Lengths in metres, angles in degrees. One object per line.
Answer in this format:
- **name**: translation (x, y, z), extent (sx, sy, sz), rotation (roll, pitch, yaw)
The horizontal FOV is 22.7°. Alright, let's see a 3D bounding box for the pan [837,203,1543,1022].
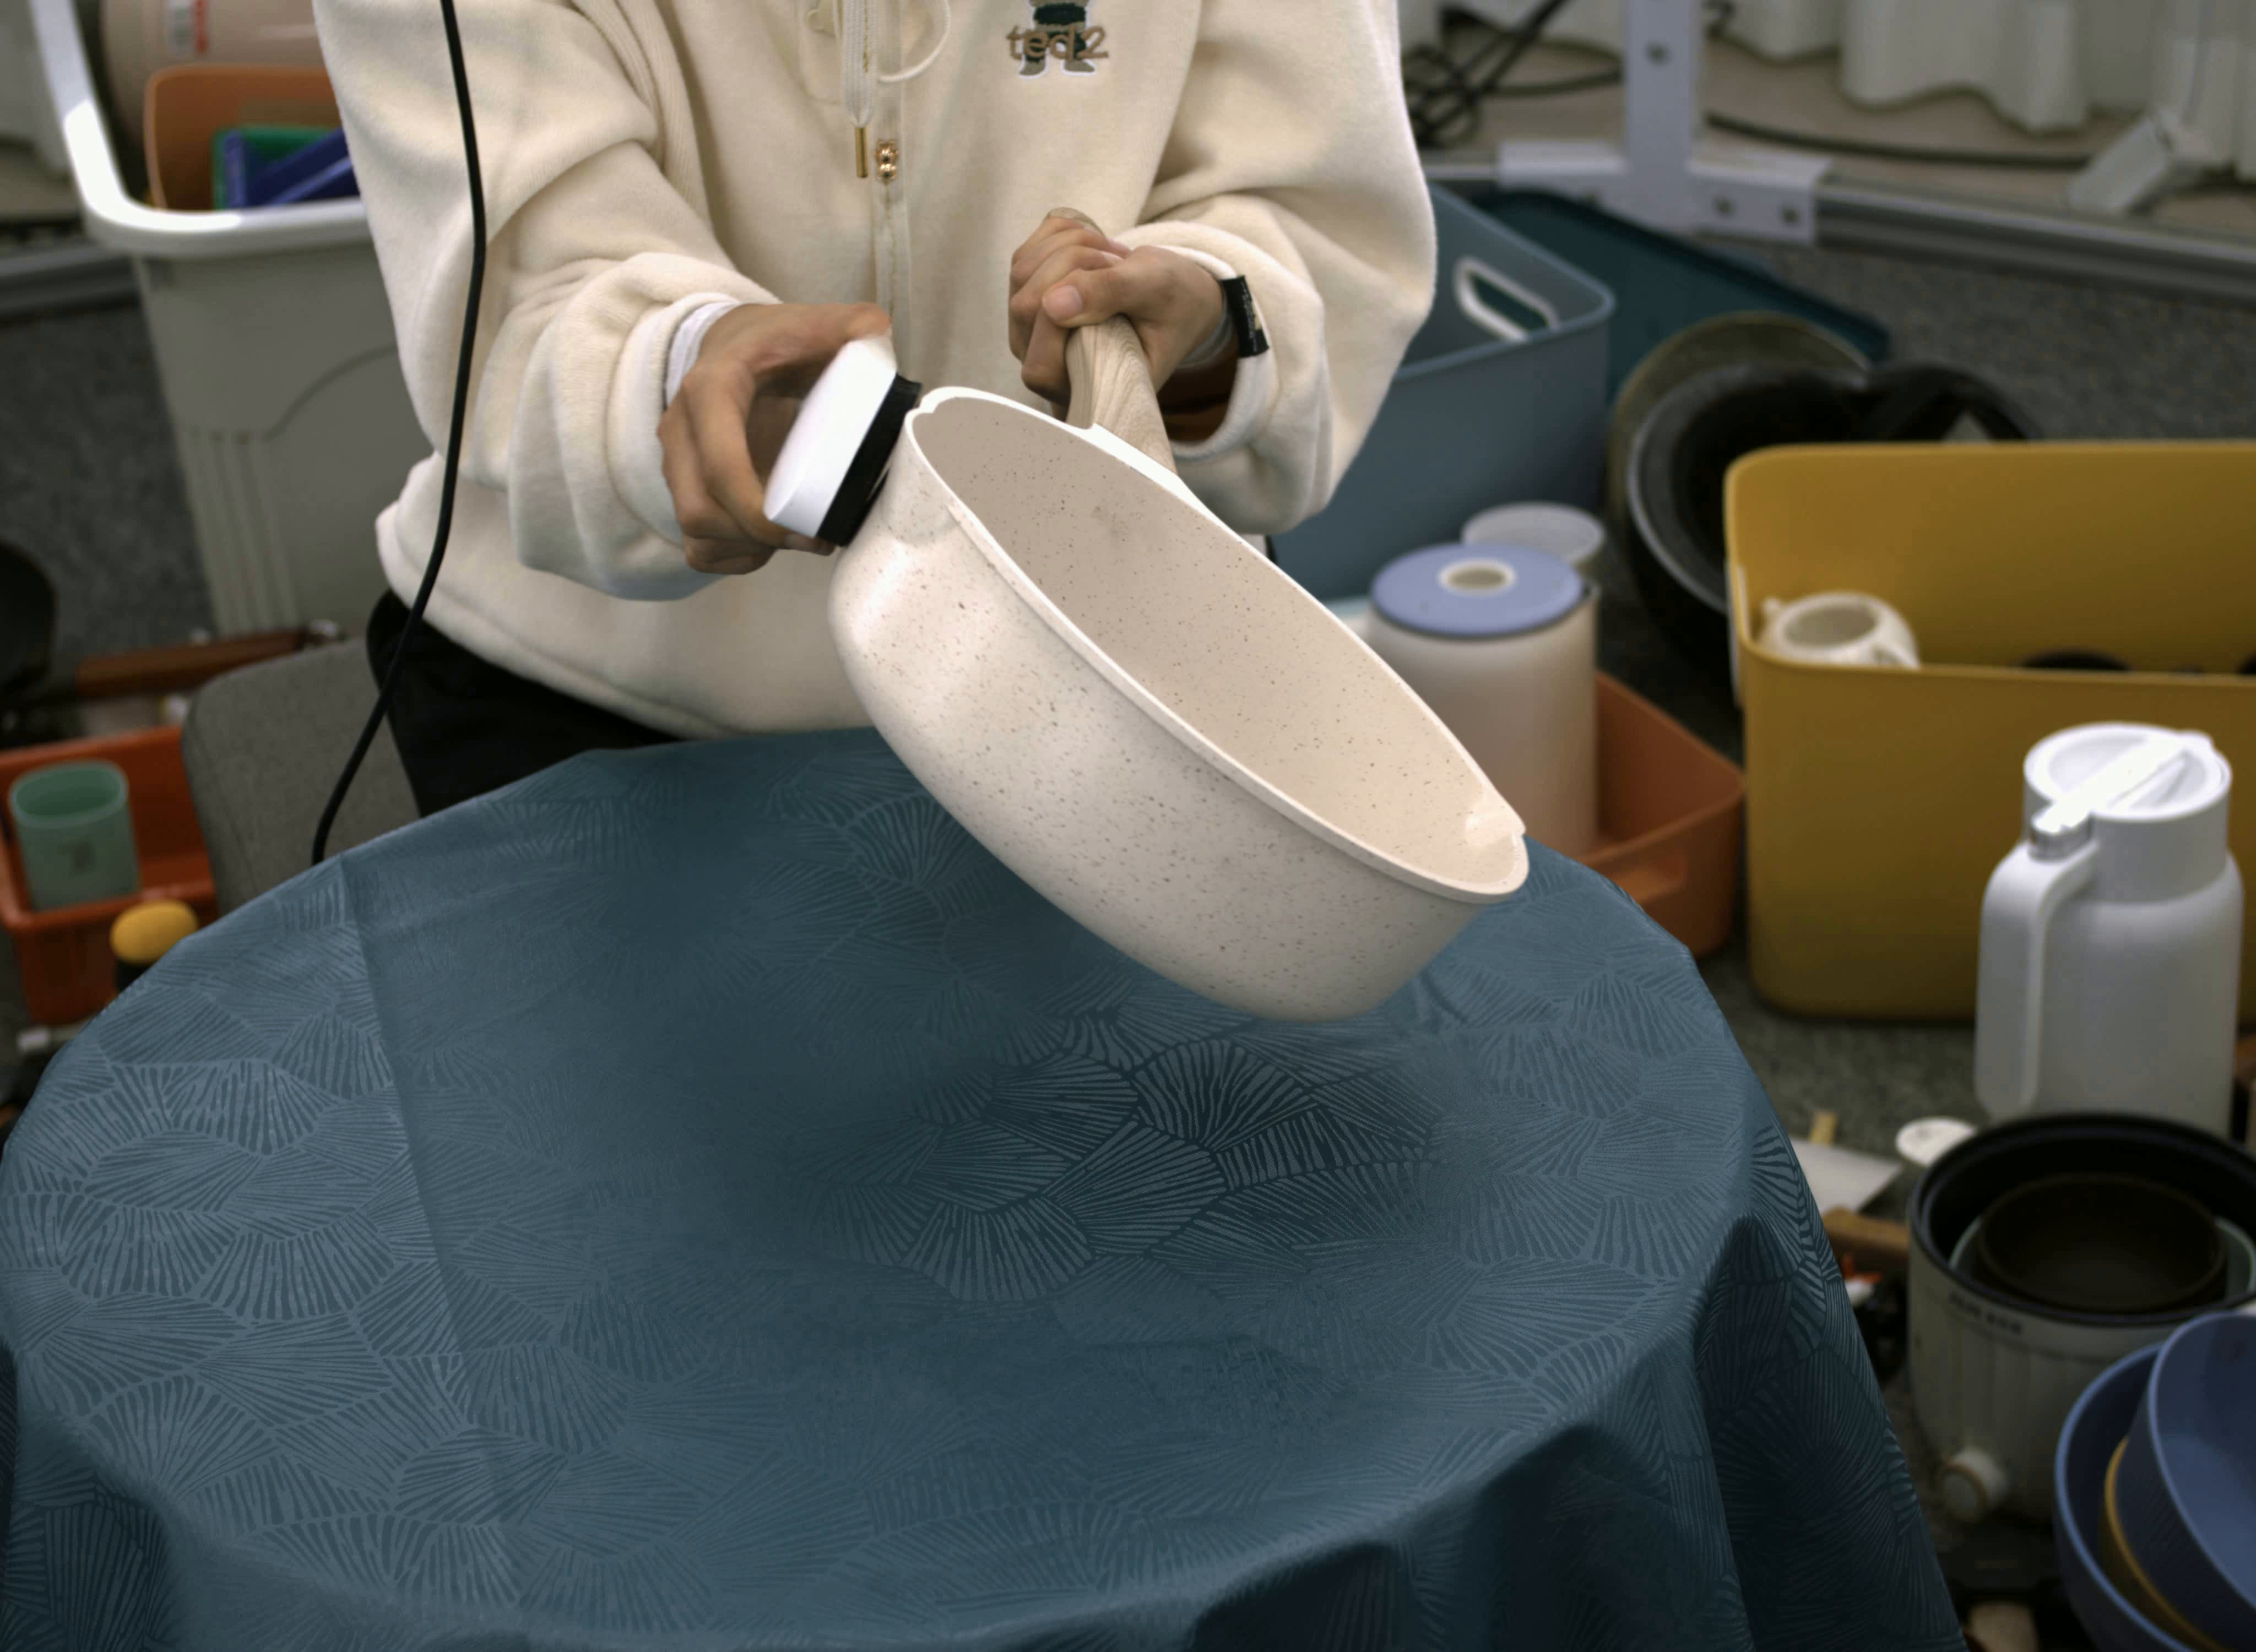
- **pan**: translation (-0.003, -0.083, 1.917), extent (0.262, 0.101, 0.440), rotation (29, 19, -26)

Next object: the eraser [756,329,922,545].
- **eraser**: translation (-0.095, -0.127, 1.855), extent (0.034, 0.063, 0.131), rotation (30, 4, -5)
